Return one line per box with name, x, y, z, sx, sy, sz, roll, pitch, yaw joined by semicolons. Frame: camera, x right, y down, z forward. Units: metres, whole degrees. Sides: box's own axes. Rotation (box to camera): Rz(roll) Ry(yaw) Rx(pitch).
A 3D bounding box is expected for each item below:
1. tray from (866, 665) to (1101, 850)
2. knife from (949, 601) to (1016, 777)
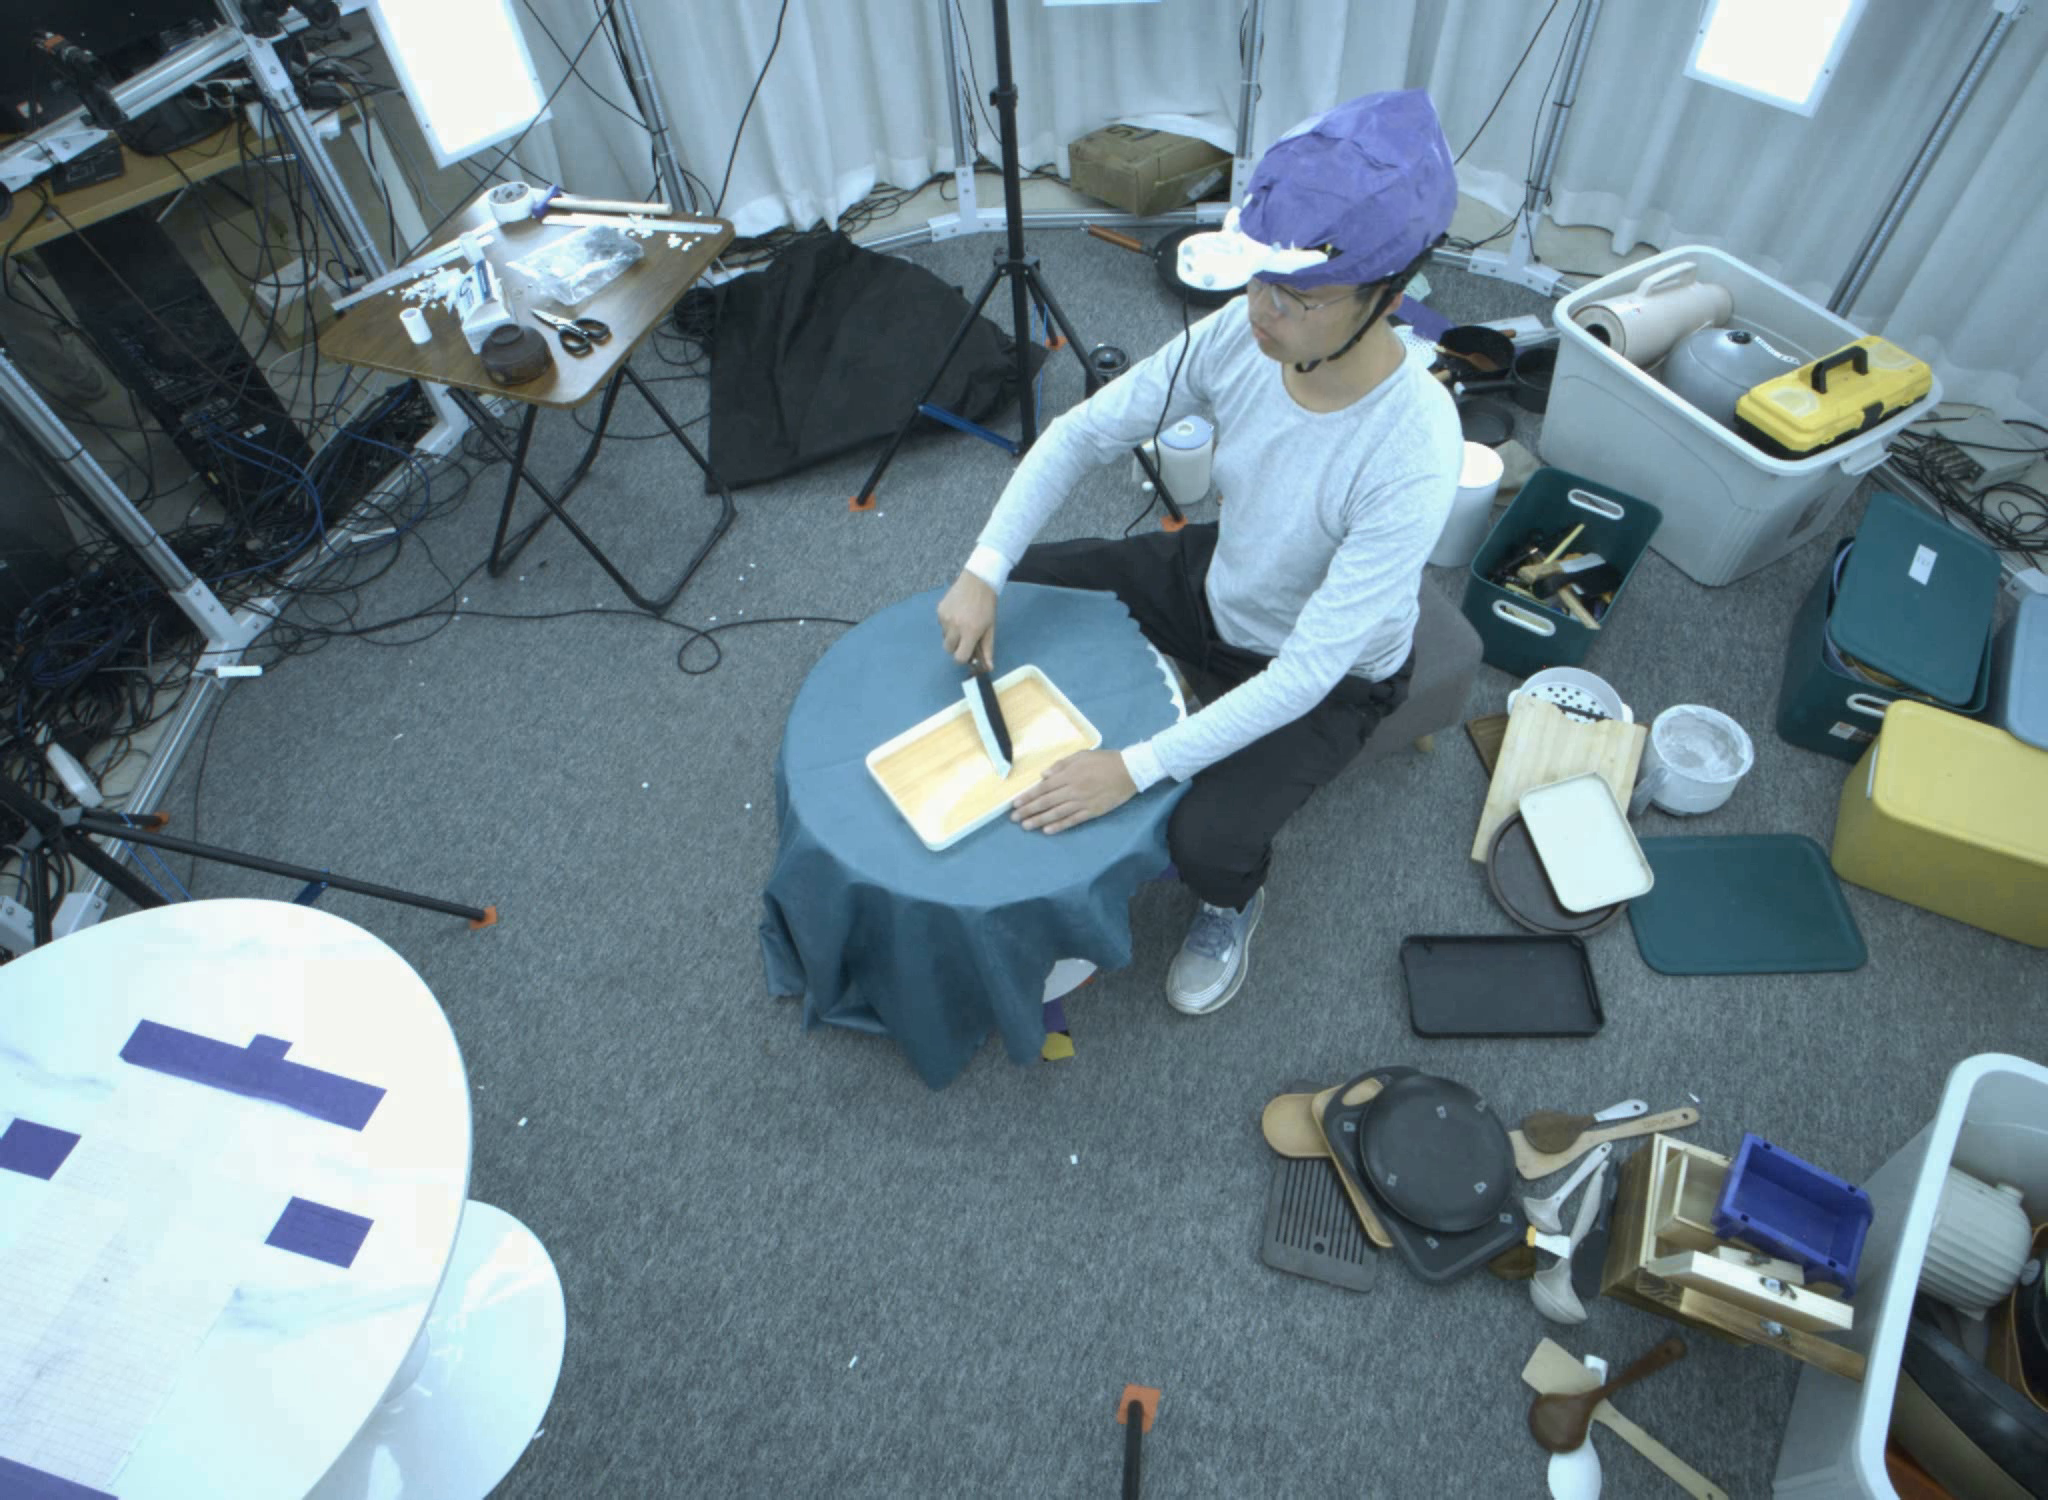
tray;-0.057;0.006;1.776;0.303;0.028;0.188;-30;59;-19
knife;-0.063;-0.091;1.802;0.050;0.020;0.286;-23;71;18
